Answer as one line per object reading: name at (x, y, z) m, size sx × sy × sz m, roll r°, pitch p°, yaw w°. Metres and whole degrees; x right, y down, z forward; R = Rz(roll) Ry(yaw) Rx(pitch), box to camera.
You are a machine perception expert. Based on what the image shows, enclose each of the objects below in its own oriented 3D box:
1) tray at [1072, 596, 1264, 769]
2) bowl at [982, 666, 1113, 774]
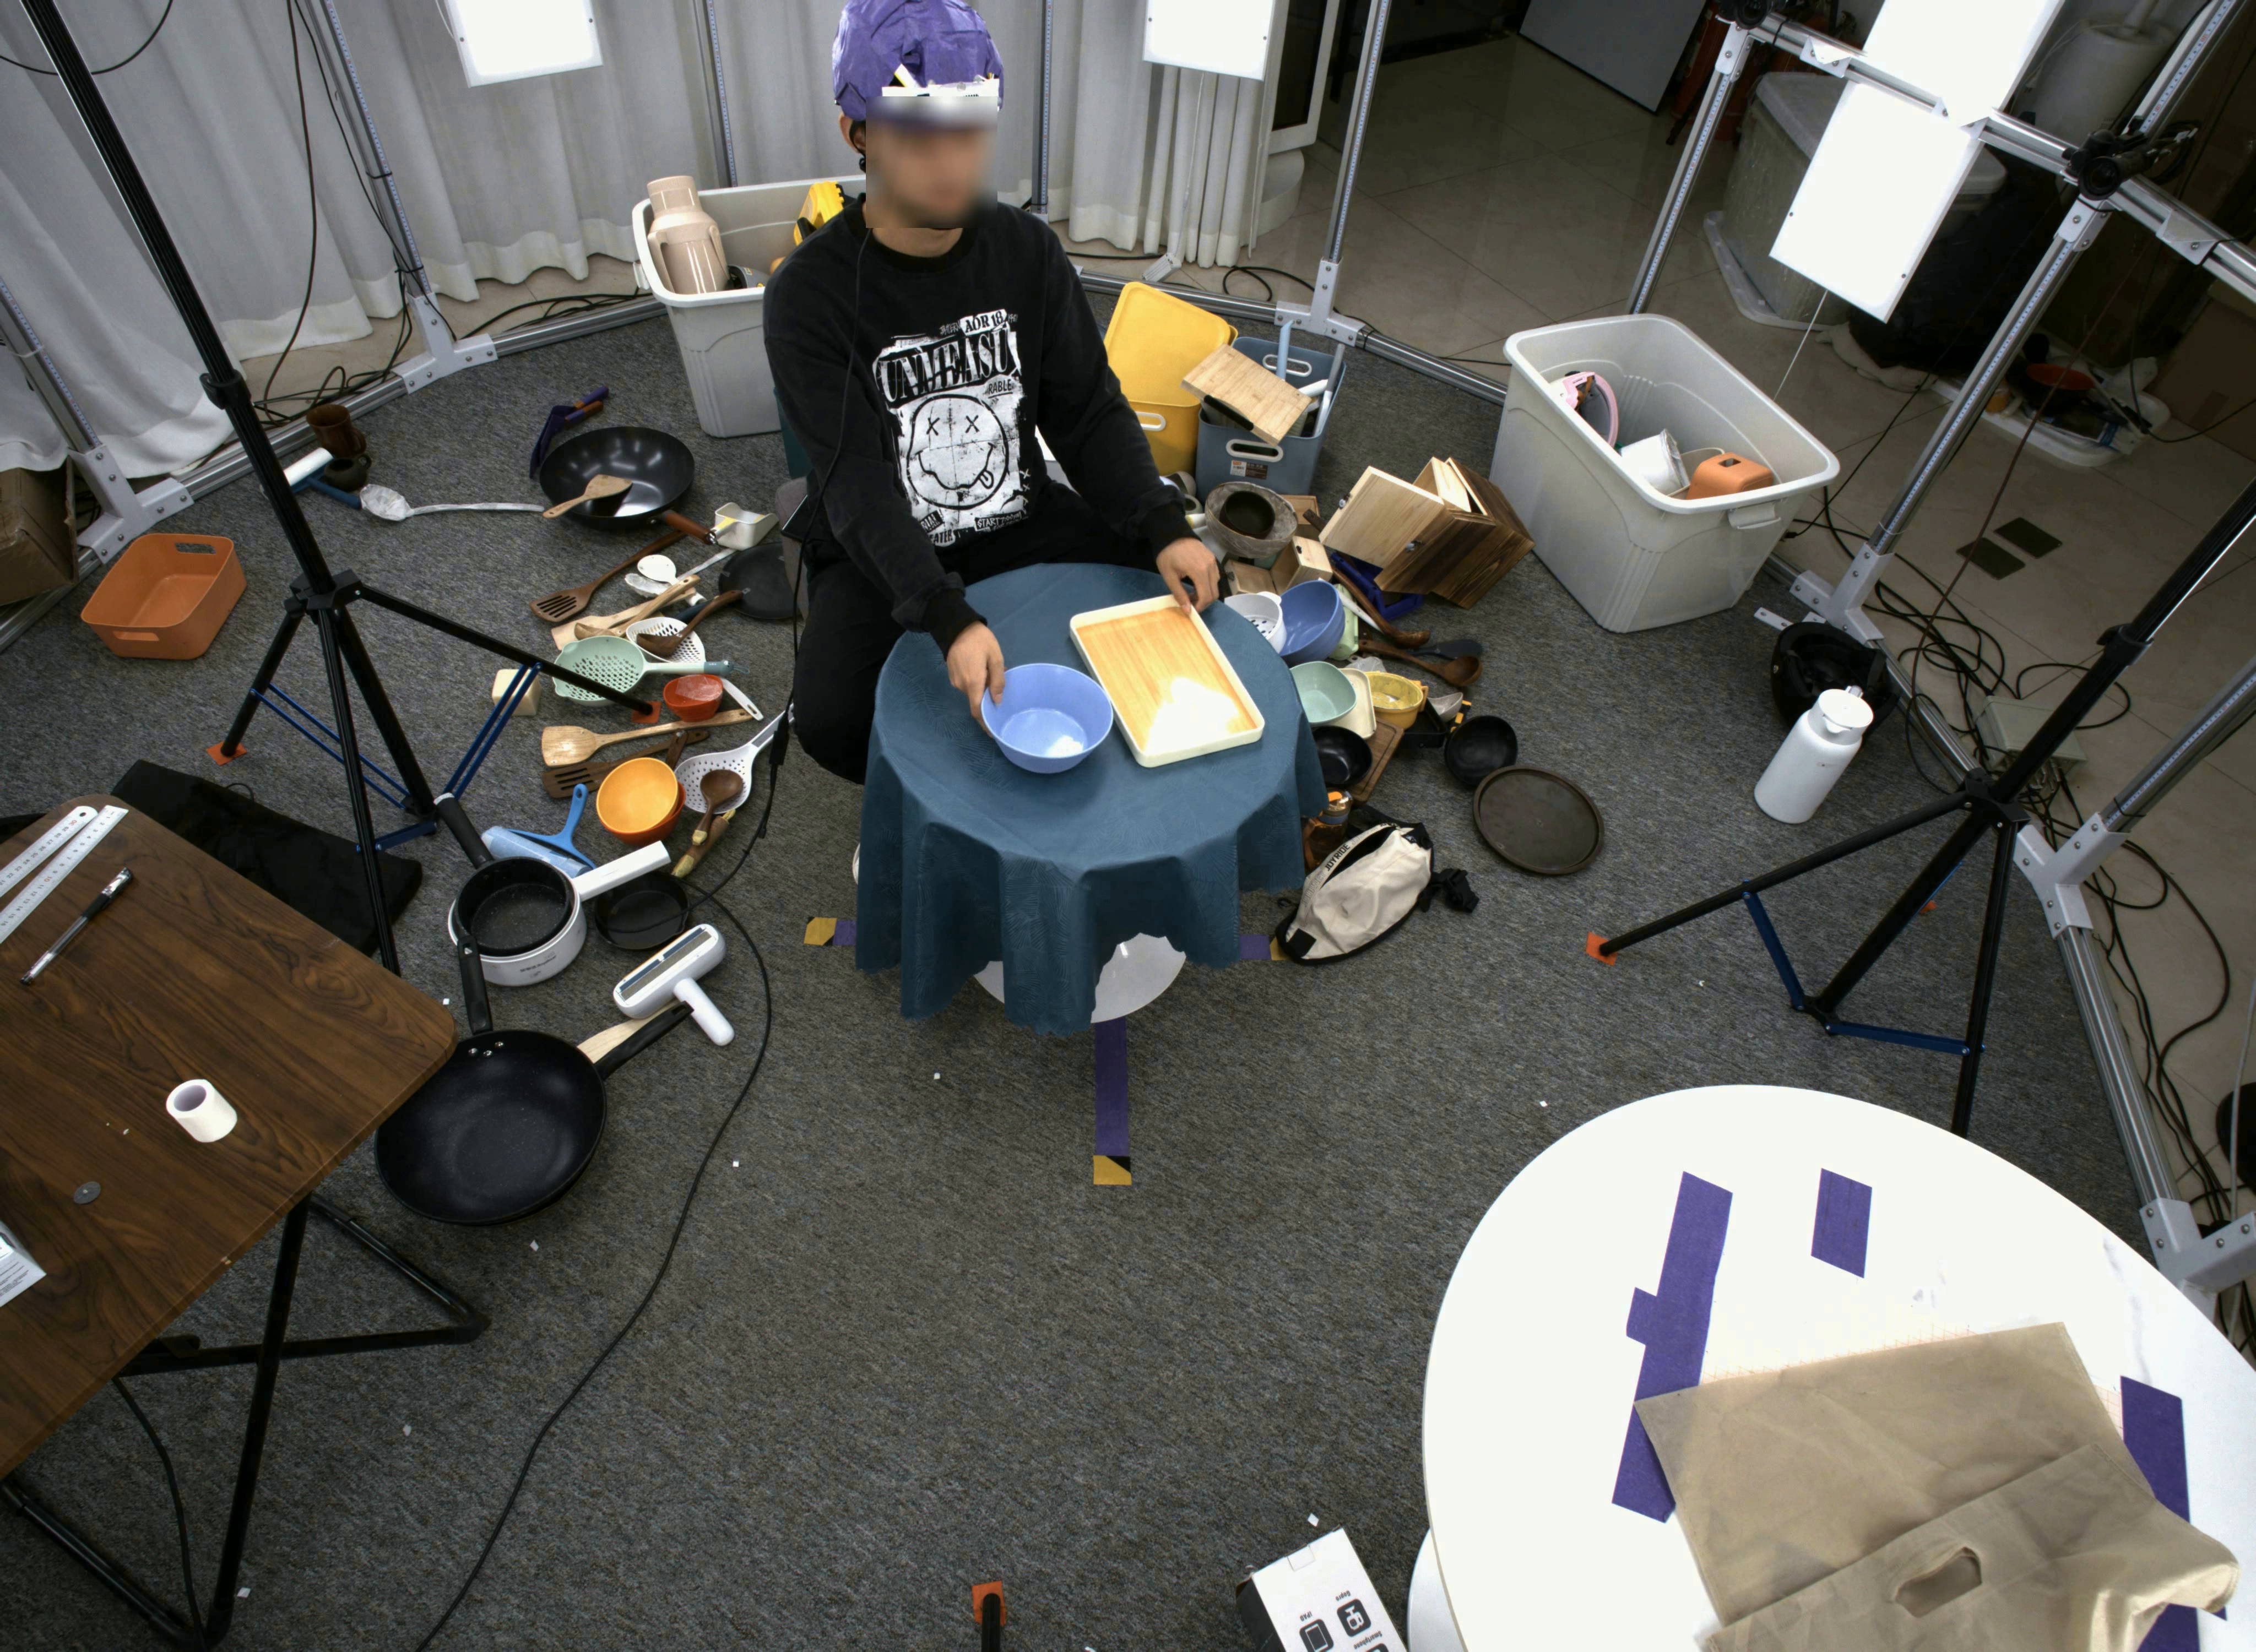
tray at (0.053, -0.214, 1.857) m, size 0.191 × 0.027 × 0.307 m, roll -15°, pitch 52°, yaw -16°
bowl at (-0.112, -0.135, 1.744) m, size 0.176 × 0.068 × 0.180 m, roll 5°, pitch 49°, yaw -6°
